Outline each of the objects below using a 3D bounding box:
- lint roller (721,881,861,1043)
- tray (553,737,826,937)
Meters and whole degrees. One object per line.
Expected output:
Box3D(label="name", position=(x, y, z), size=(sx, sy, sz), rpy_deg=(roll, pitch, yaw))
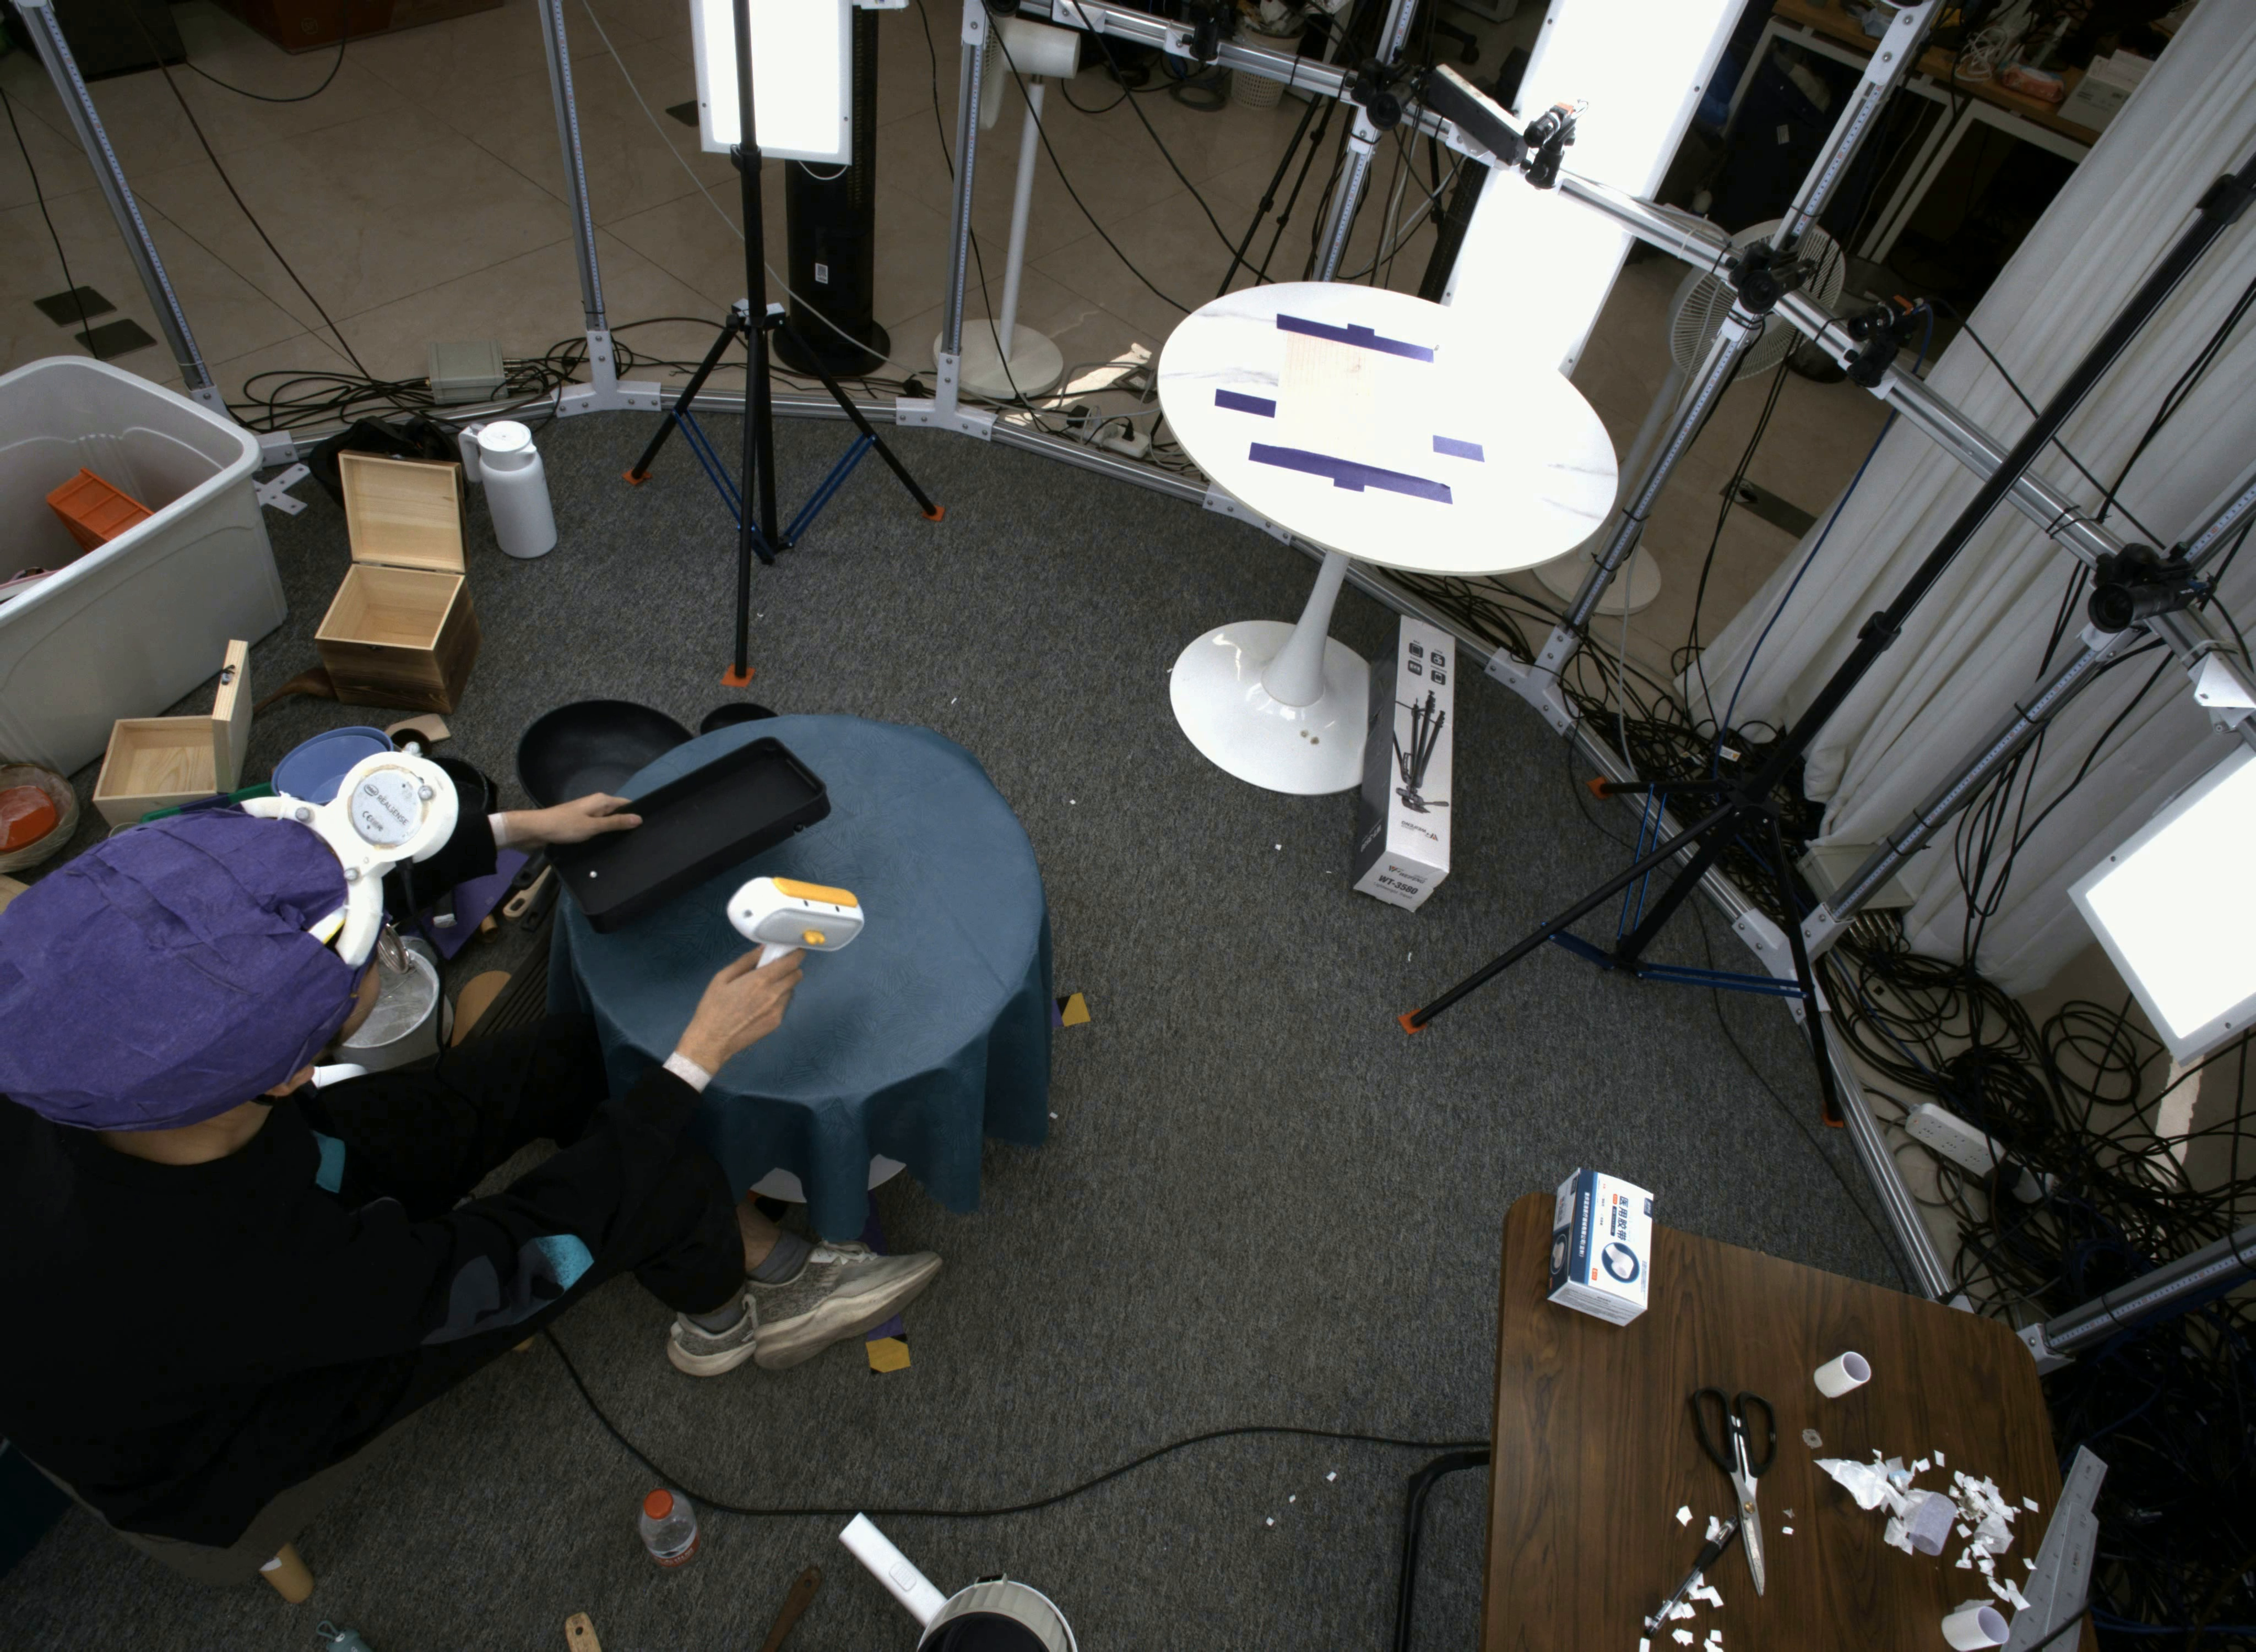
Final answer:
Box3D(label="lint roller", position=(-0.400, 0.150, 1.460), size=(0.072, 0.193, 0.196), rpy_deg=(38, 11, 18))
Box3D(label="tray", position=(-0.537, 0.005, 1.561), size=(0.318, 0.038, 0.177), rpy_deg=(-32, 44, -26))
